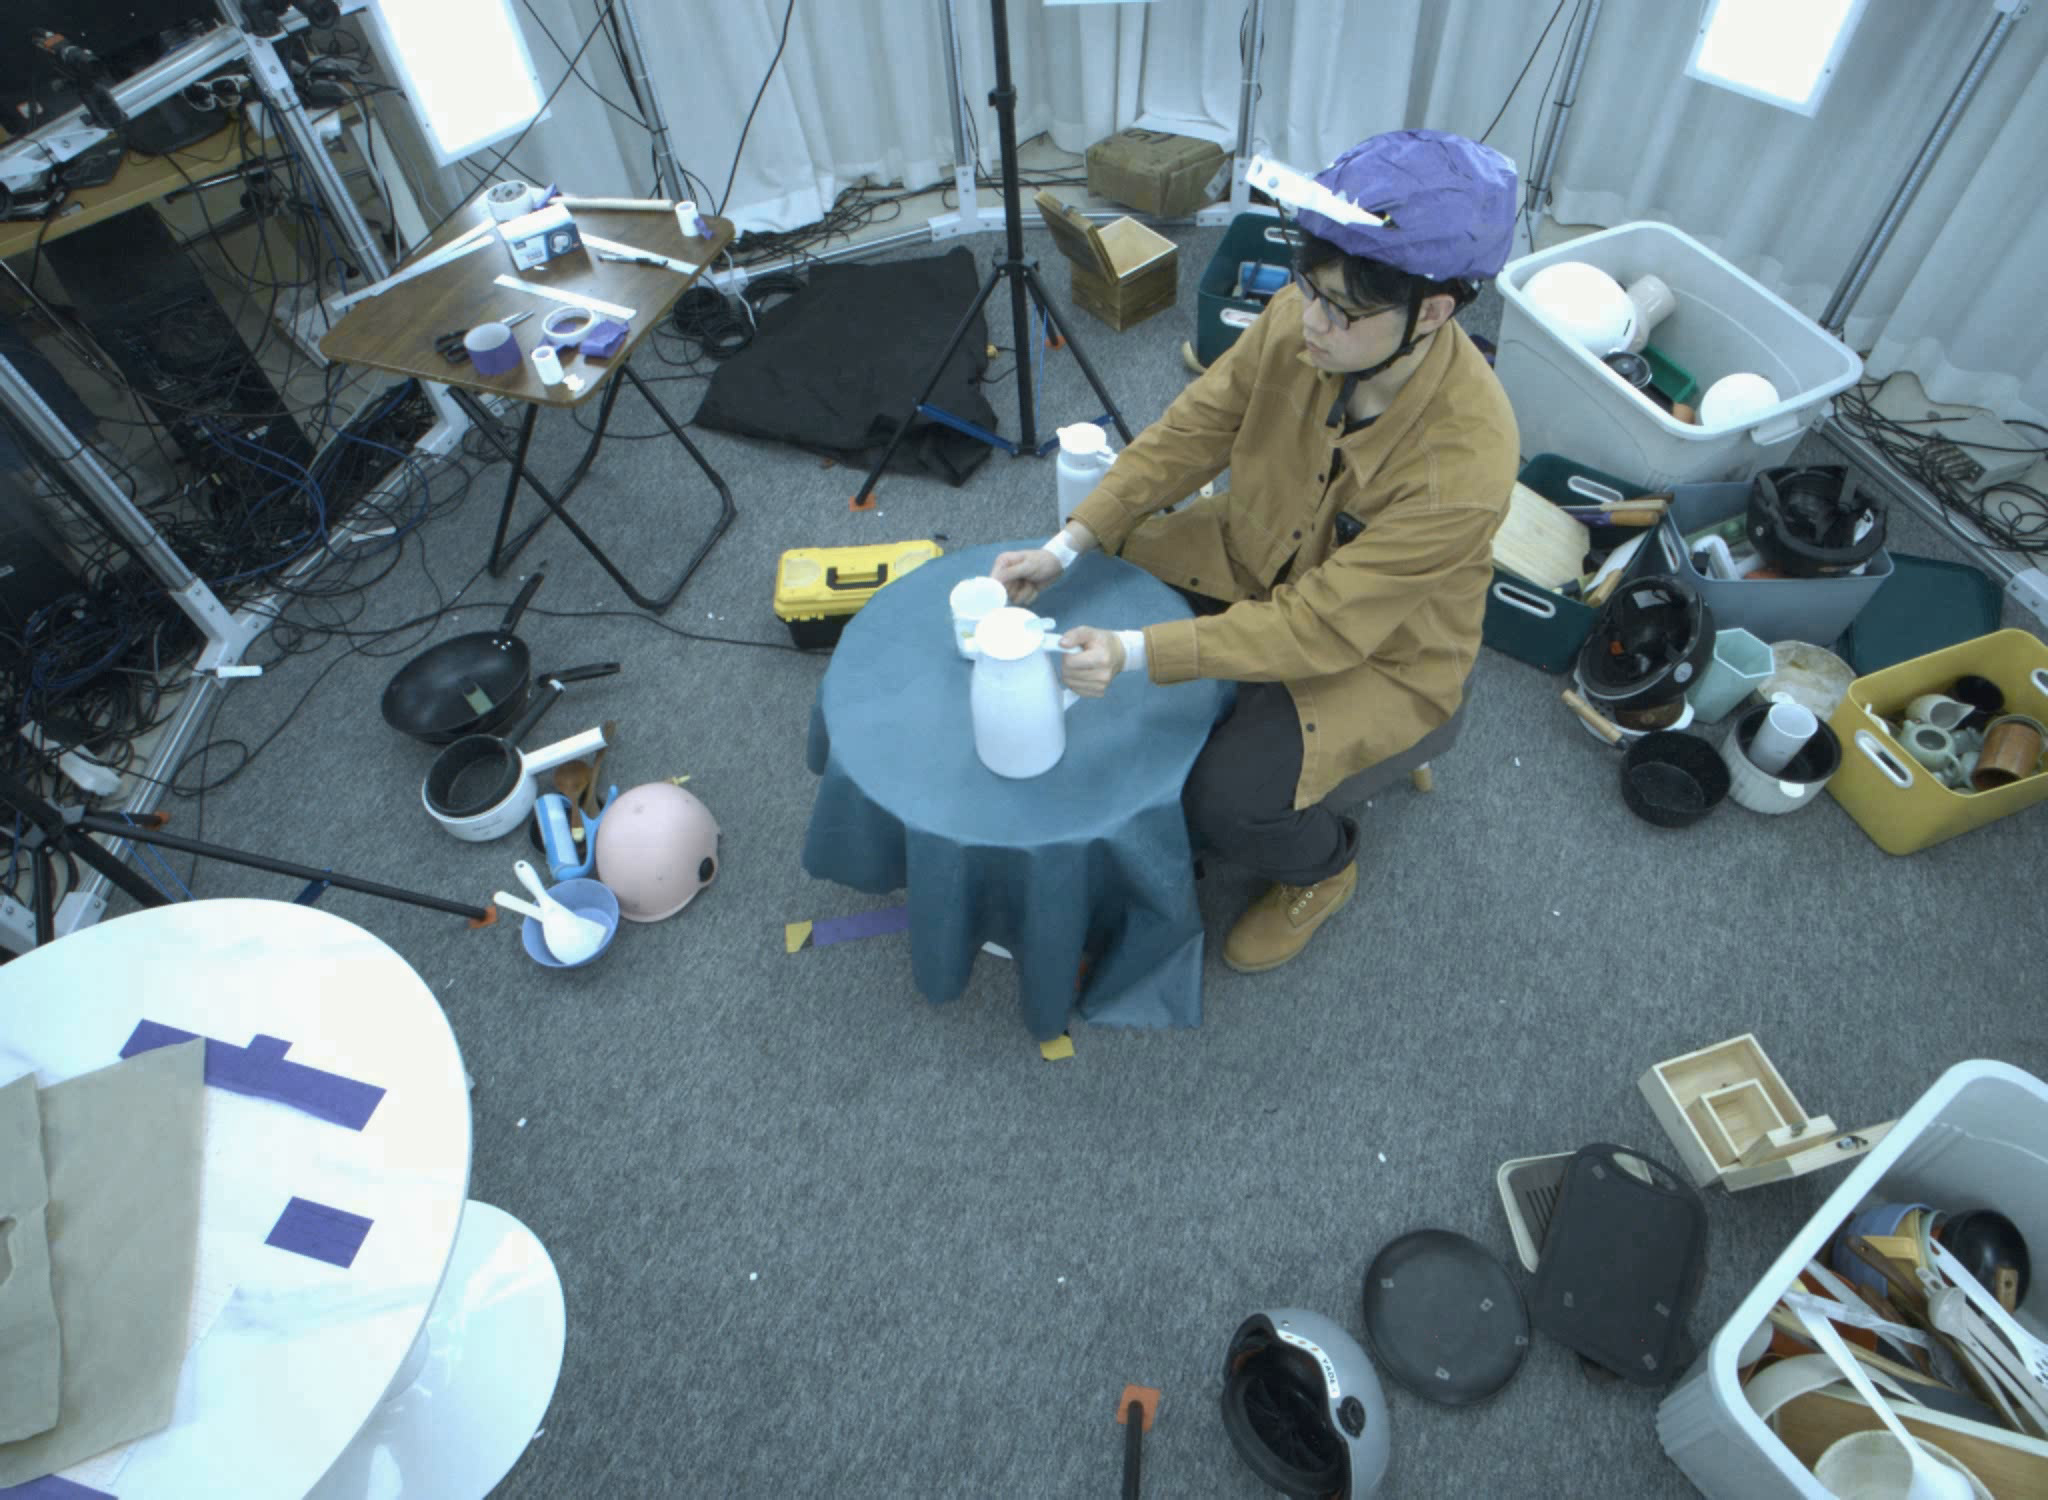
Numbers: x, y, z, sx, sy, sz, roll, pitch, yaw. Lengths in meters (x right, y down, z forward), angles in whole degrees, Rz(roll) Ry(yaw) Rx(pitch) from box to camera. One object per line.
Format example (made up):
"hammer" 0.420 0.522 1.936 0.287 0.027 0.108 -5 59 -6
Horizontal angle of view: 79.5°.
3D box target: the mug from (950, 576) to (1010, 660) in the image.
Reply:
"mug" -0.059 -0.209 1.872 0.084 0.103 0.118 24 58 18

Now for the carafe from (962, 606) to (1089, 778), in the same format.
"carafe" 0.006 -0.089 1.693 0.168 0.251 0.130 -9 53 -3
